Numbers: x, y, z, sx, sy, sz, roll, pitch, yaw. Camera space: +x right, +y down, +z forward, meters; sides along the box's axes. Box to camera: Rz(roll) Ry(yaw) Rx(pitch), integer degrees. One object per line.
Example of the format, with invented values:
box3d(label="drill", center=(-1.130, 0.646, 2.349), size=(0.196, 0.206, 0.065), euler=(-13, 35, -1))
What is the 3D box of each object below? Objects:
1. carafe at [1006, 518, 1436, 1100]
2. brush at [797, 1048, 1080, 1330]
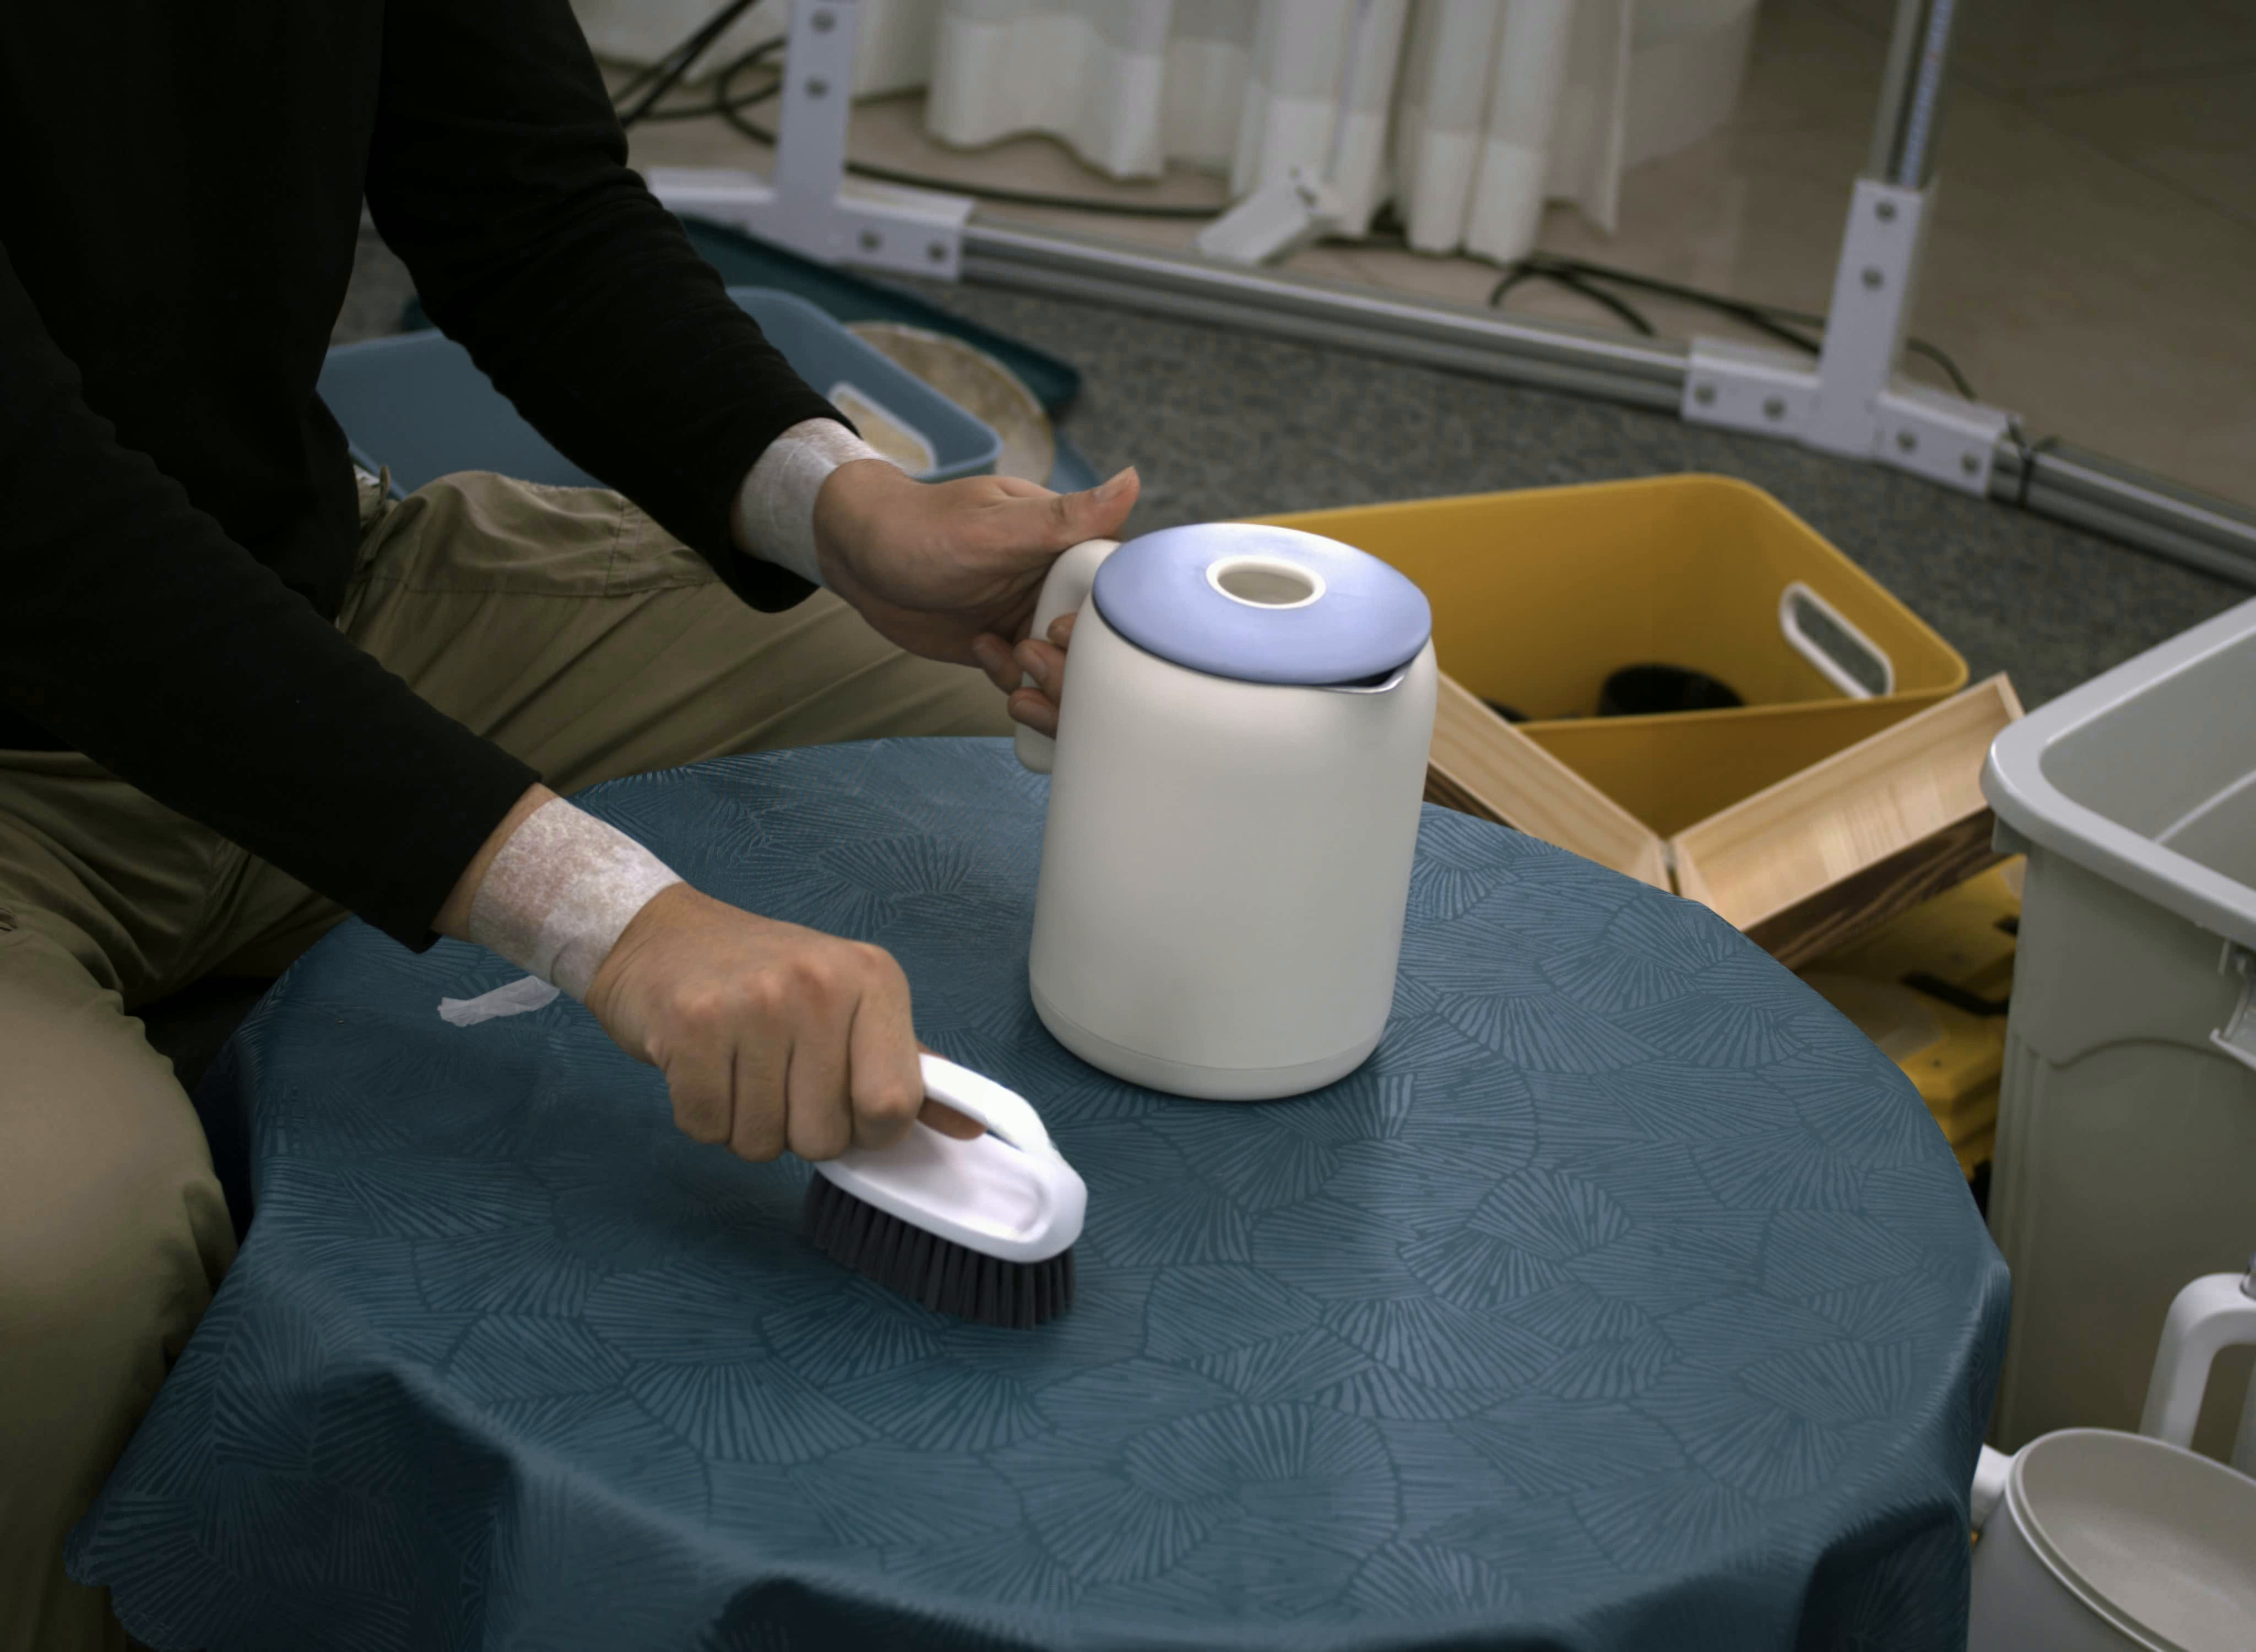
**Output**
box3d(label="carafe", center=(0.022, -0.017, 1.894), size=(0.131, 0.182, 0.193), euler=(-14, 32, -36))
box3d(label="brush", center=(-0.060, 0.111, 1.726), size=(0.100, 0.072, 0.050), euler=(24, 36, 25))
